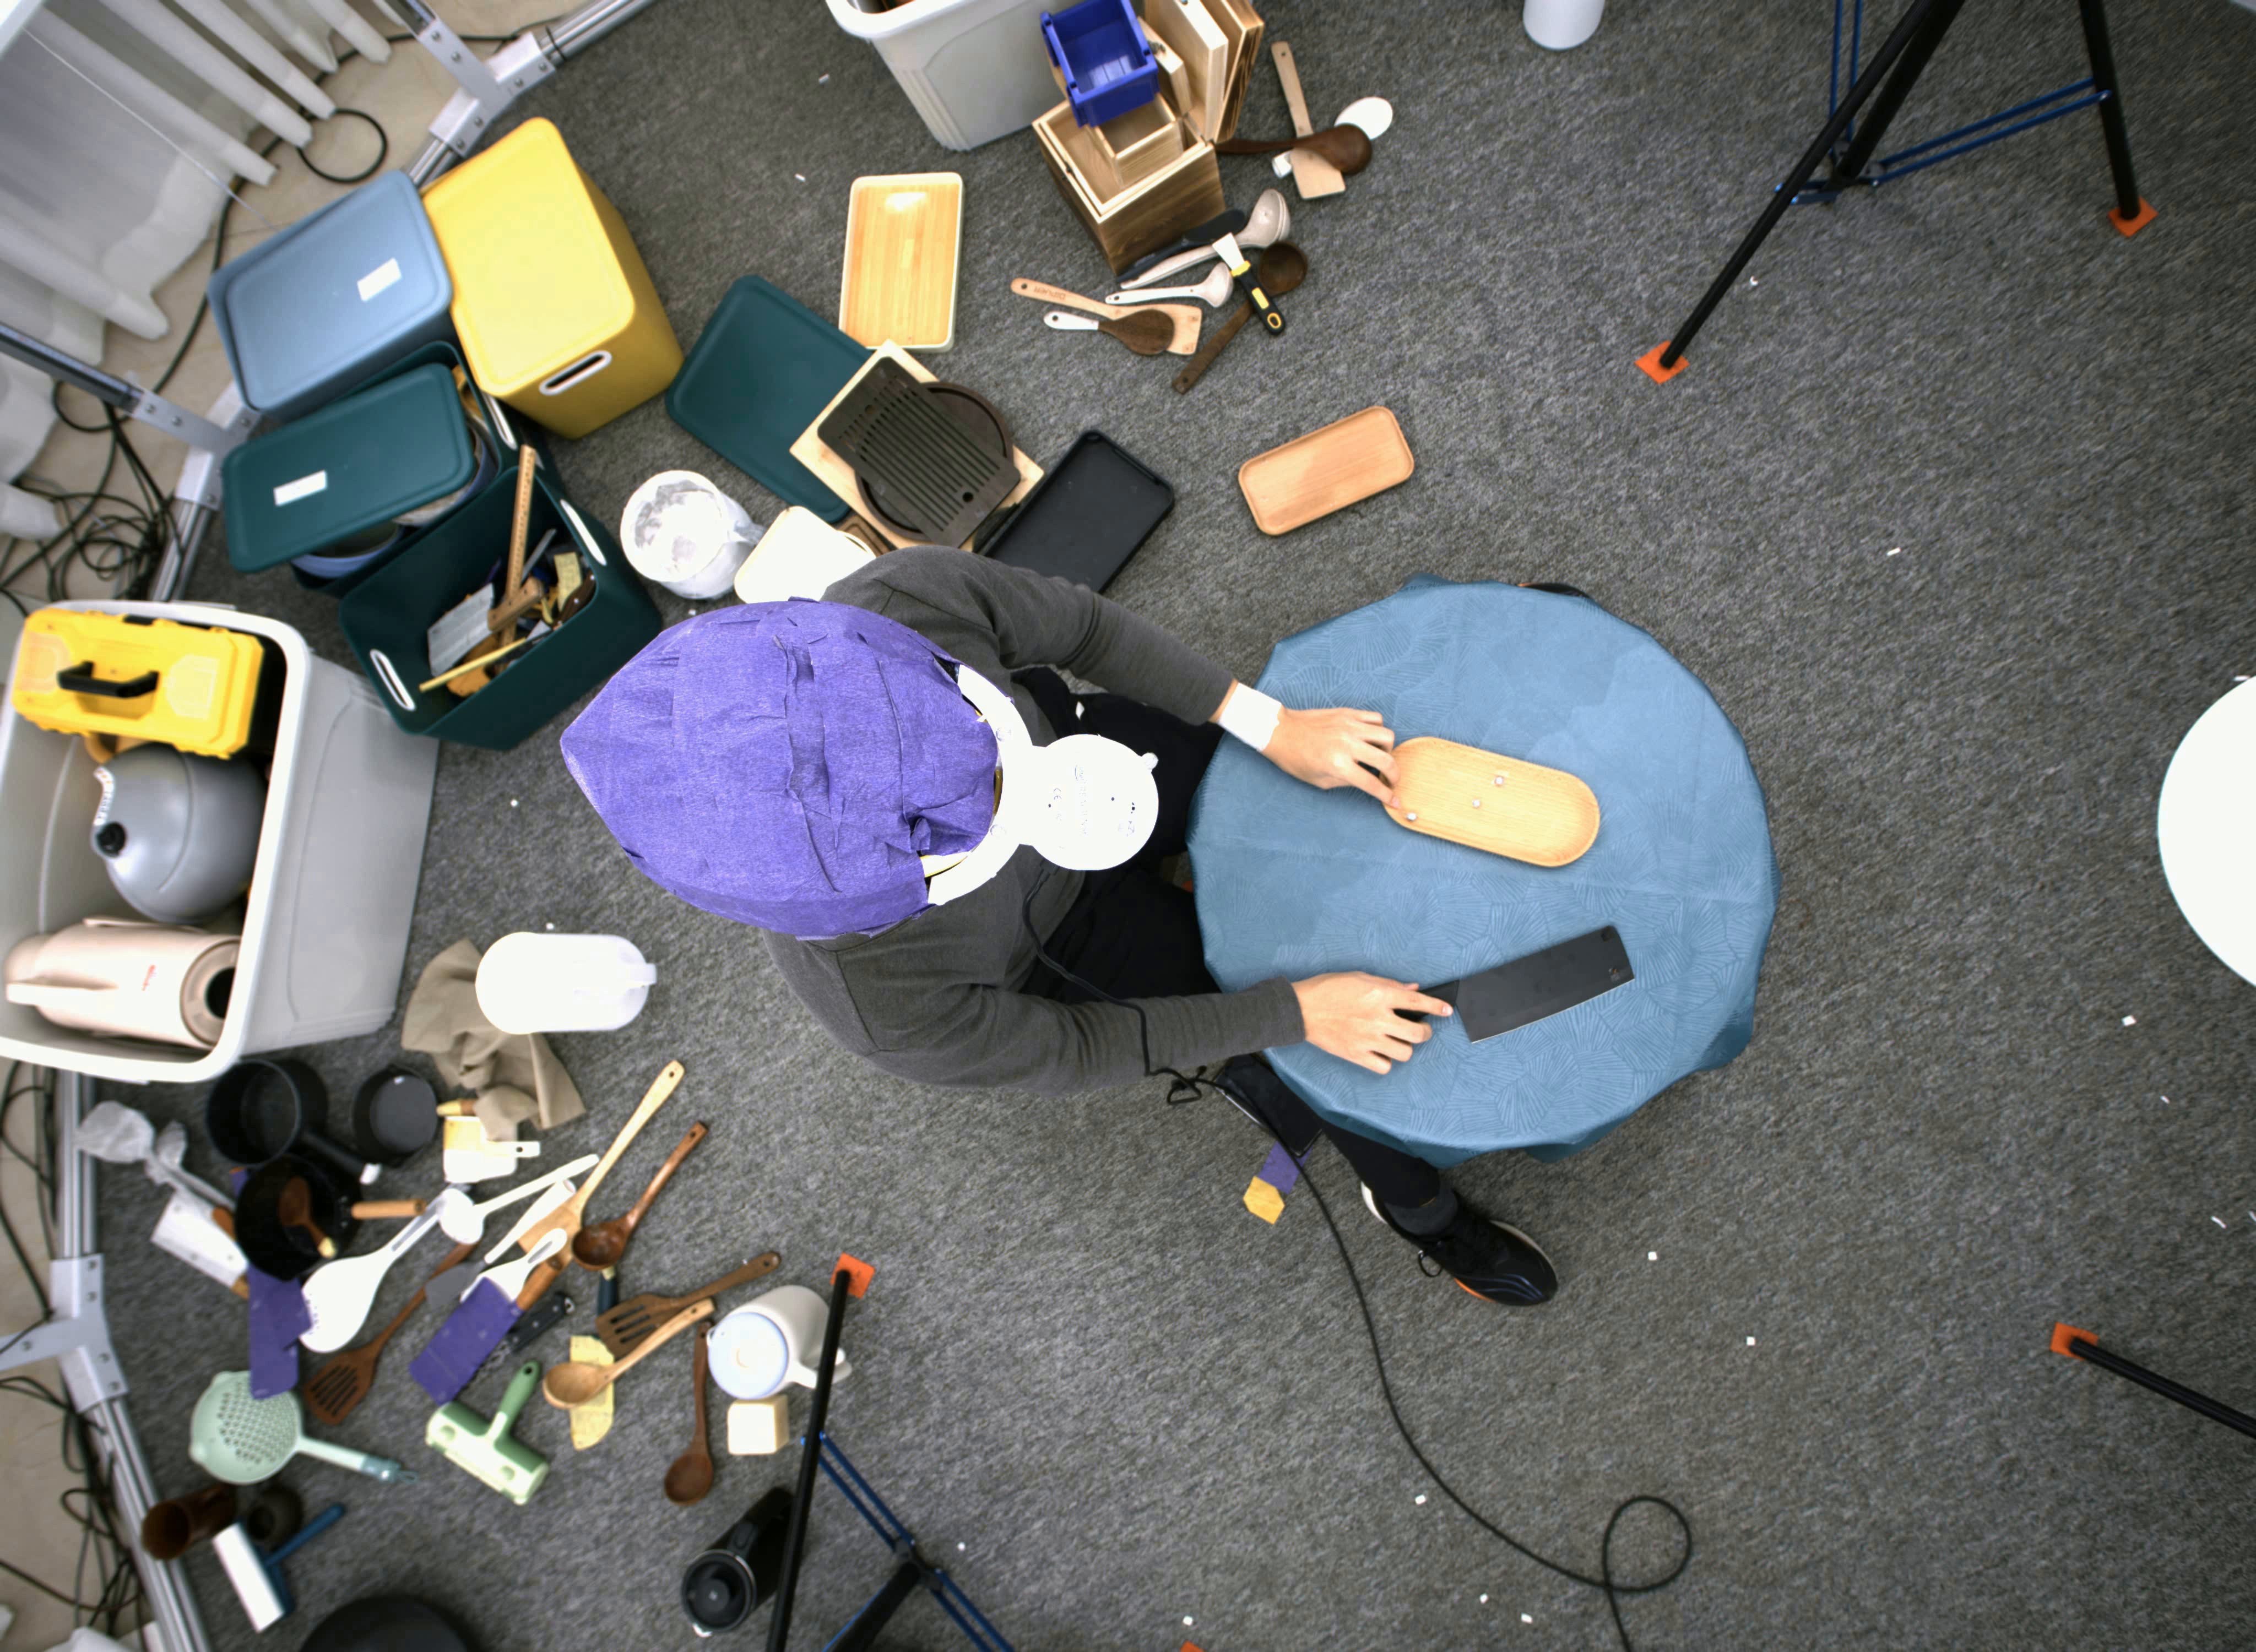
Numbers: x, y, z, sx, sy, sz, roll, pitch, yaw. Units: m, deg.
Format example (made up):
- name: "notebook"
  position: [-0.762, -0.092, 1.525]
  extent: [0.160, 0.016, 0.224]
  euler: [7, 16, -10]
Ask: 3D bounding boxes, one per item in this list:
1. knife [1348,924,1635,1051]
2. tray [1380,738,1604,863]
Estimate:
- name: "knife"
  position: [0.372, 0.177, 1.427]
  extent: [0.304, 0.021, 0.081]
  euler: [-17, 90, 8]
- name: "tray"
  position: [0.379, -0.030, 1.435]
  extent: [0.231, 0.020, 0.102]
  euler: [13, 93, 11]
